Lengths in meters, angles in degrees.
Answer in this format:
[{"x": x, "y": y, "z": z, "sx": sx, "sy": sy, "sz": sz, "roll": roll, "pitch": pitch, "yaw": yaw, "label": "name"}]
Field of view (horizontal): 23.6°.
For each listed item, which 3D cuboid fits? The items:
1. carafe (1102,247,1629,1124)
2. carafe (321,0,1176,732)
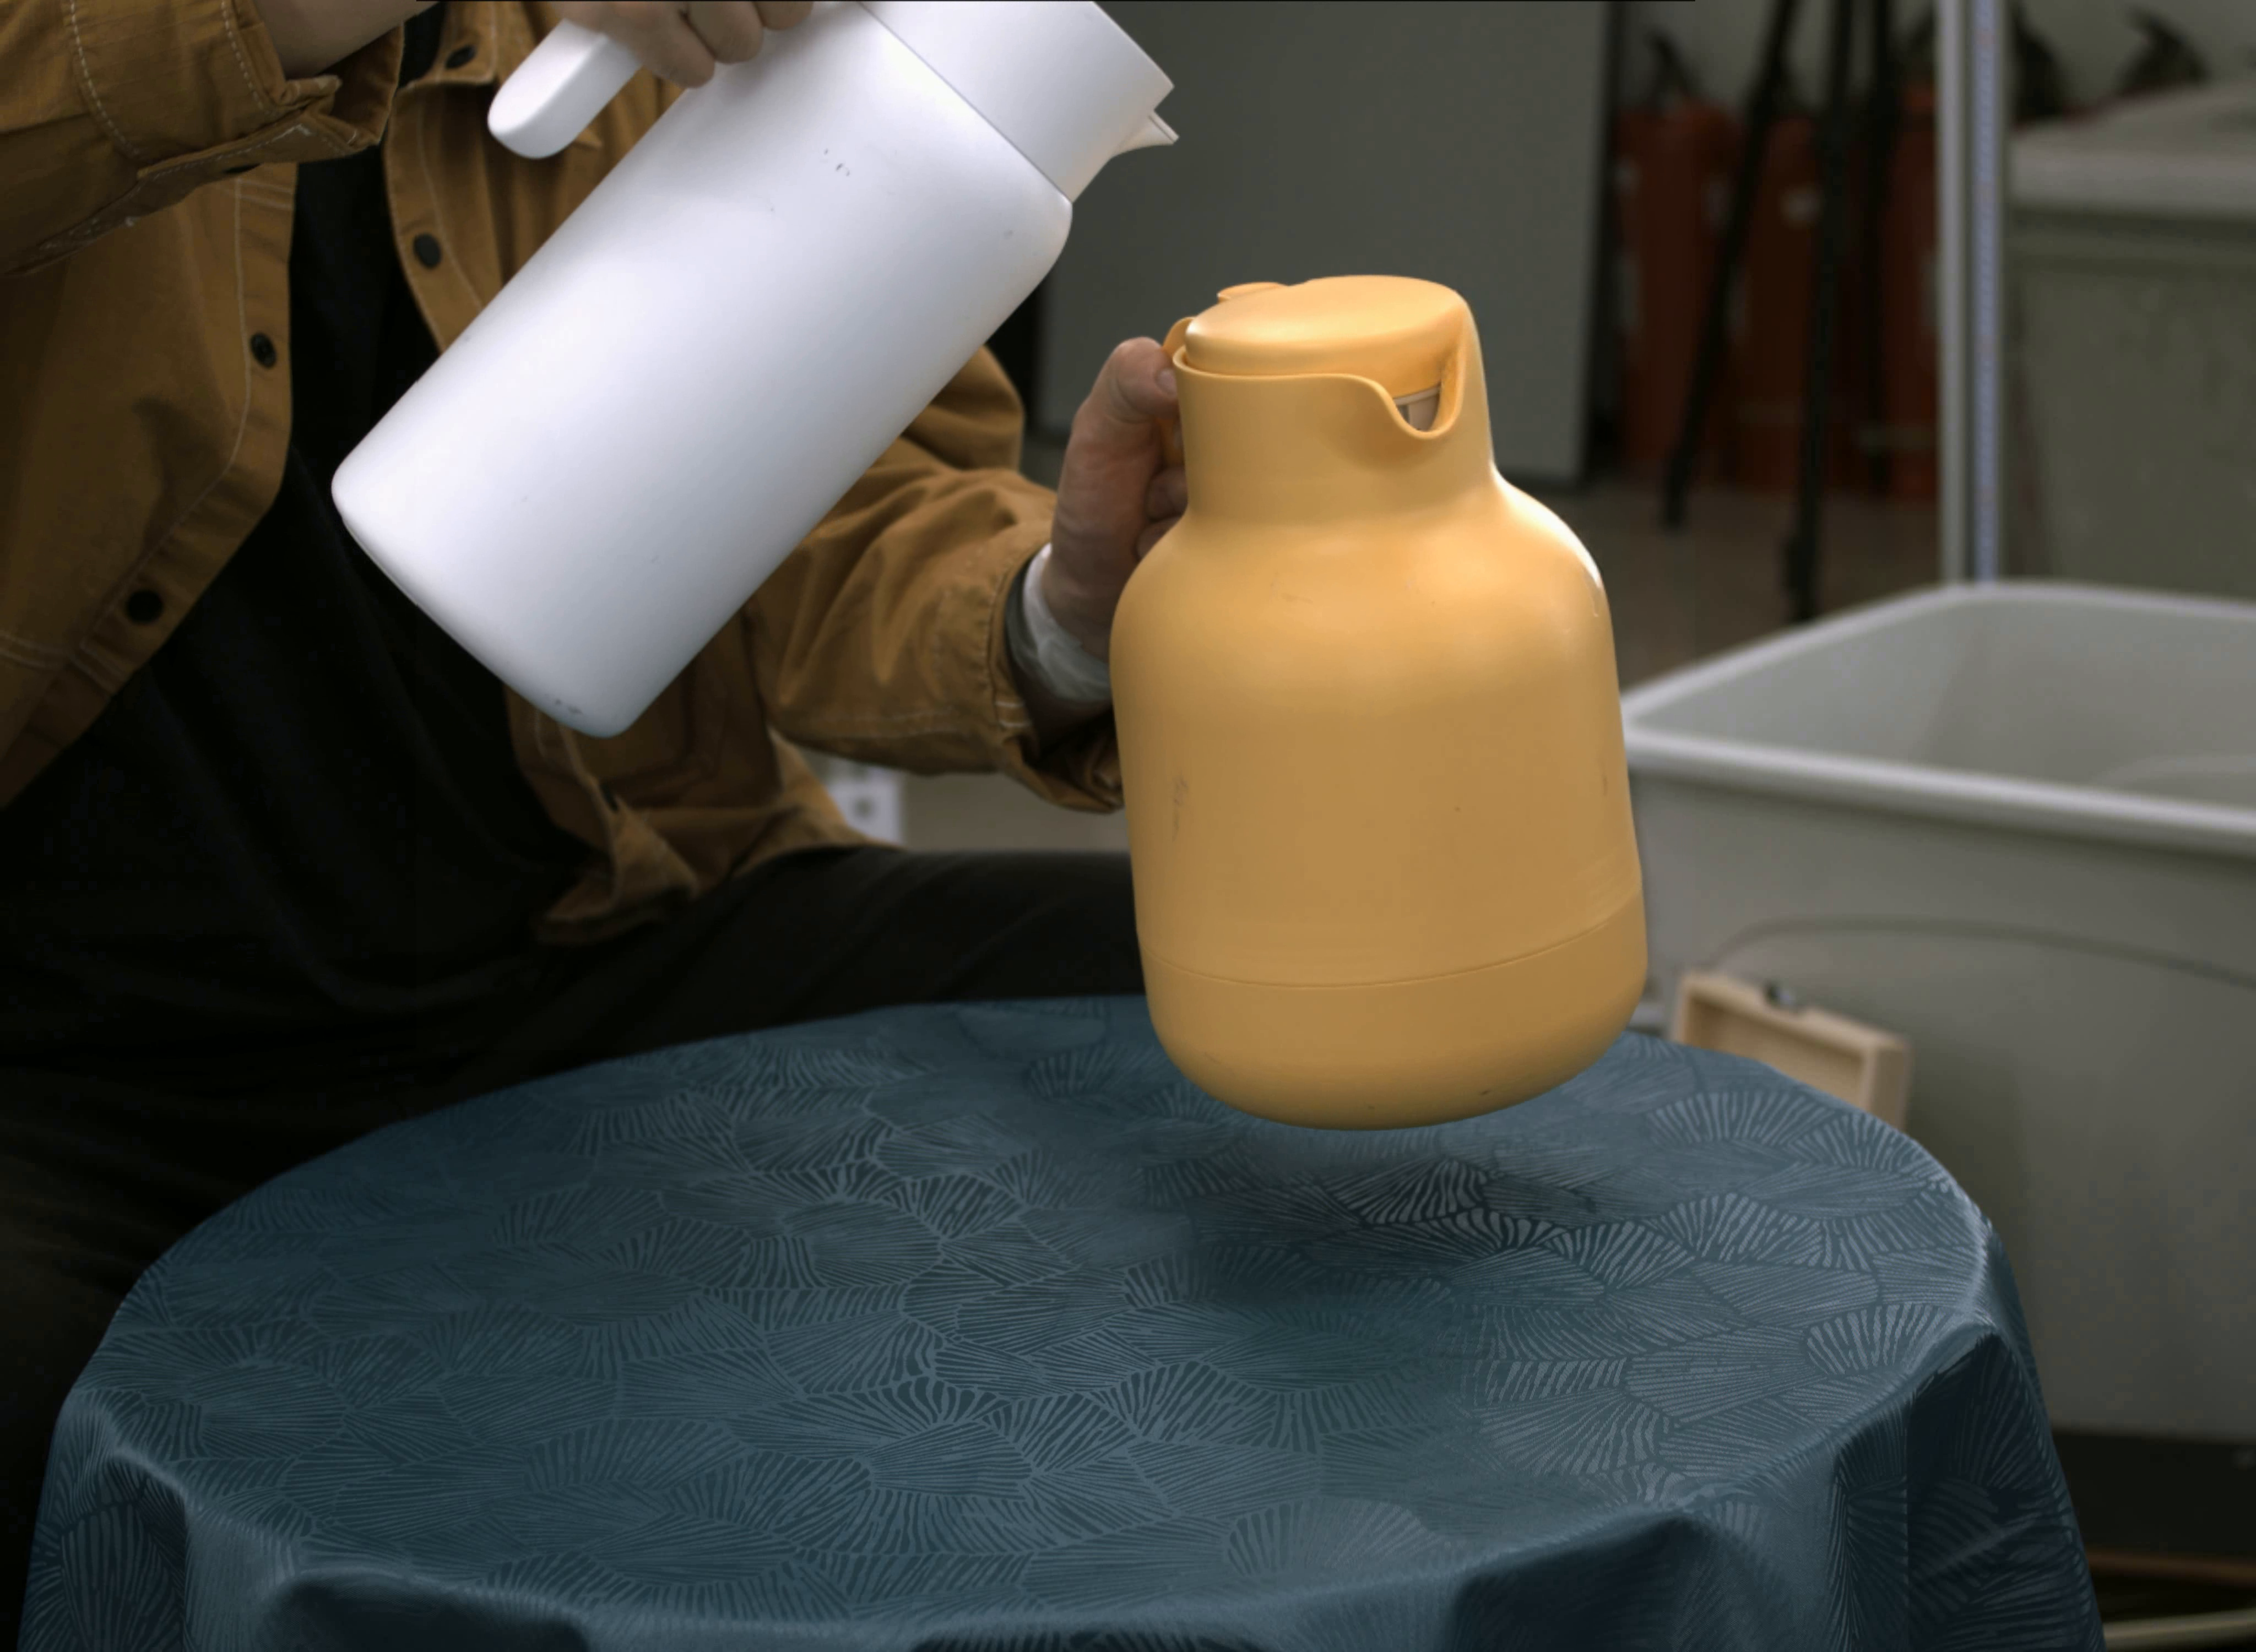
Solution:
[{"x": 0.067, "y": -0.053, "z": 1.719, "sx": 0.160, "sy": 0.263, "sz": 0.204, "roll": -10, "pitch": 18, "yaw": -17, "label": "carafe"}, {"x": -0.124, "y": -0.171, "z": 1.604, "sx": 0.170, "sy": 0.269, "sz": 0.125, "roll": 39, "pitch": 7, "yaw": -33, "label": "carafe"}]
